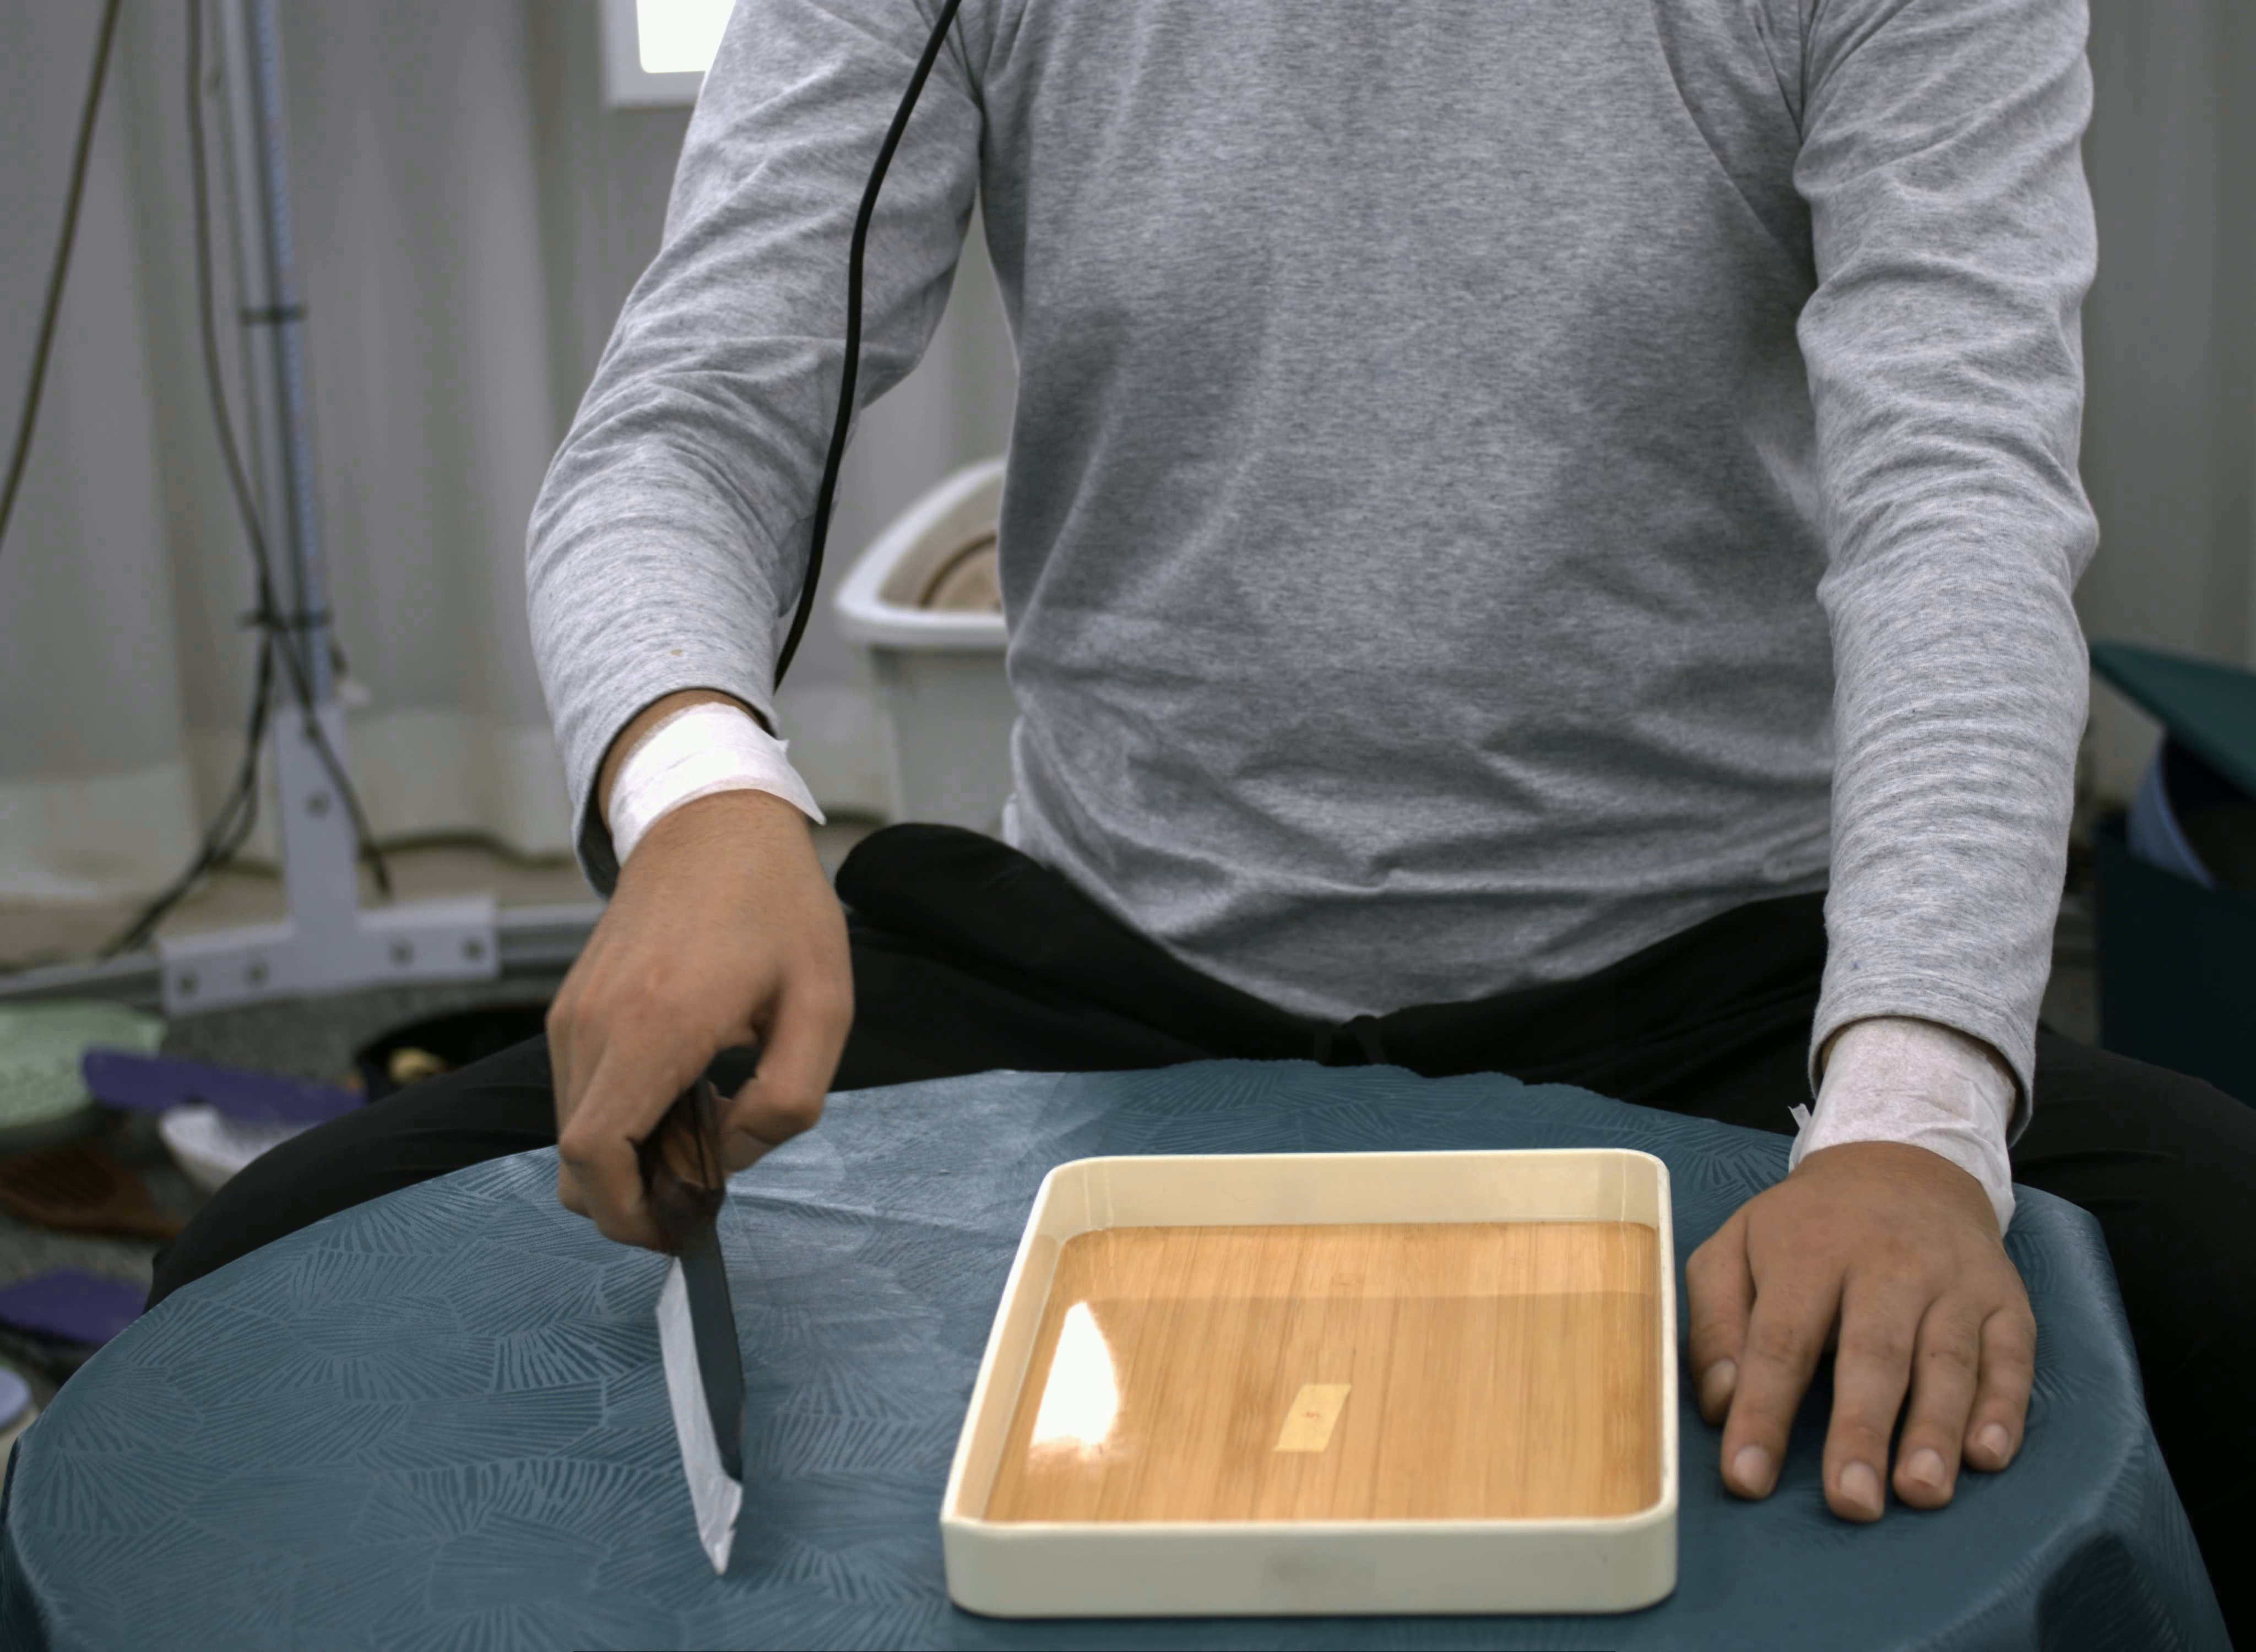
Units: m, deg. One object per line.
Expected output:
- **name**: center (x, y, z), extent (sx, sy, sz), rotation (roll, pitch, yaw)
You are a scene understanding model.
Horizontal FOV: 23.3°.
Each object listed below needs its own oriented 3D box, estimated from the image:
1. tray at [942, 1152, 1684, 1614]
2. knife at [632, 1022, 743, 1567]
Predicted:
- **tray**: center (0.058, 0.151, 1.521), extent (0.191, 0.027, 0.302), rotation (-1, 15, 6)
- **knife**: center (-0.123, 0.128, 1.552), extent (0.020, 0.050, 0.292), rotation (13, 22, -14)
